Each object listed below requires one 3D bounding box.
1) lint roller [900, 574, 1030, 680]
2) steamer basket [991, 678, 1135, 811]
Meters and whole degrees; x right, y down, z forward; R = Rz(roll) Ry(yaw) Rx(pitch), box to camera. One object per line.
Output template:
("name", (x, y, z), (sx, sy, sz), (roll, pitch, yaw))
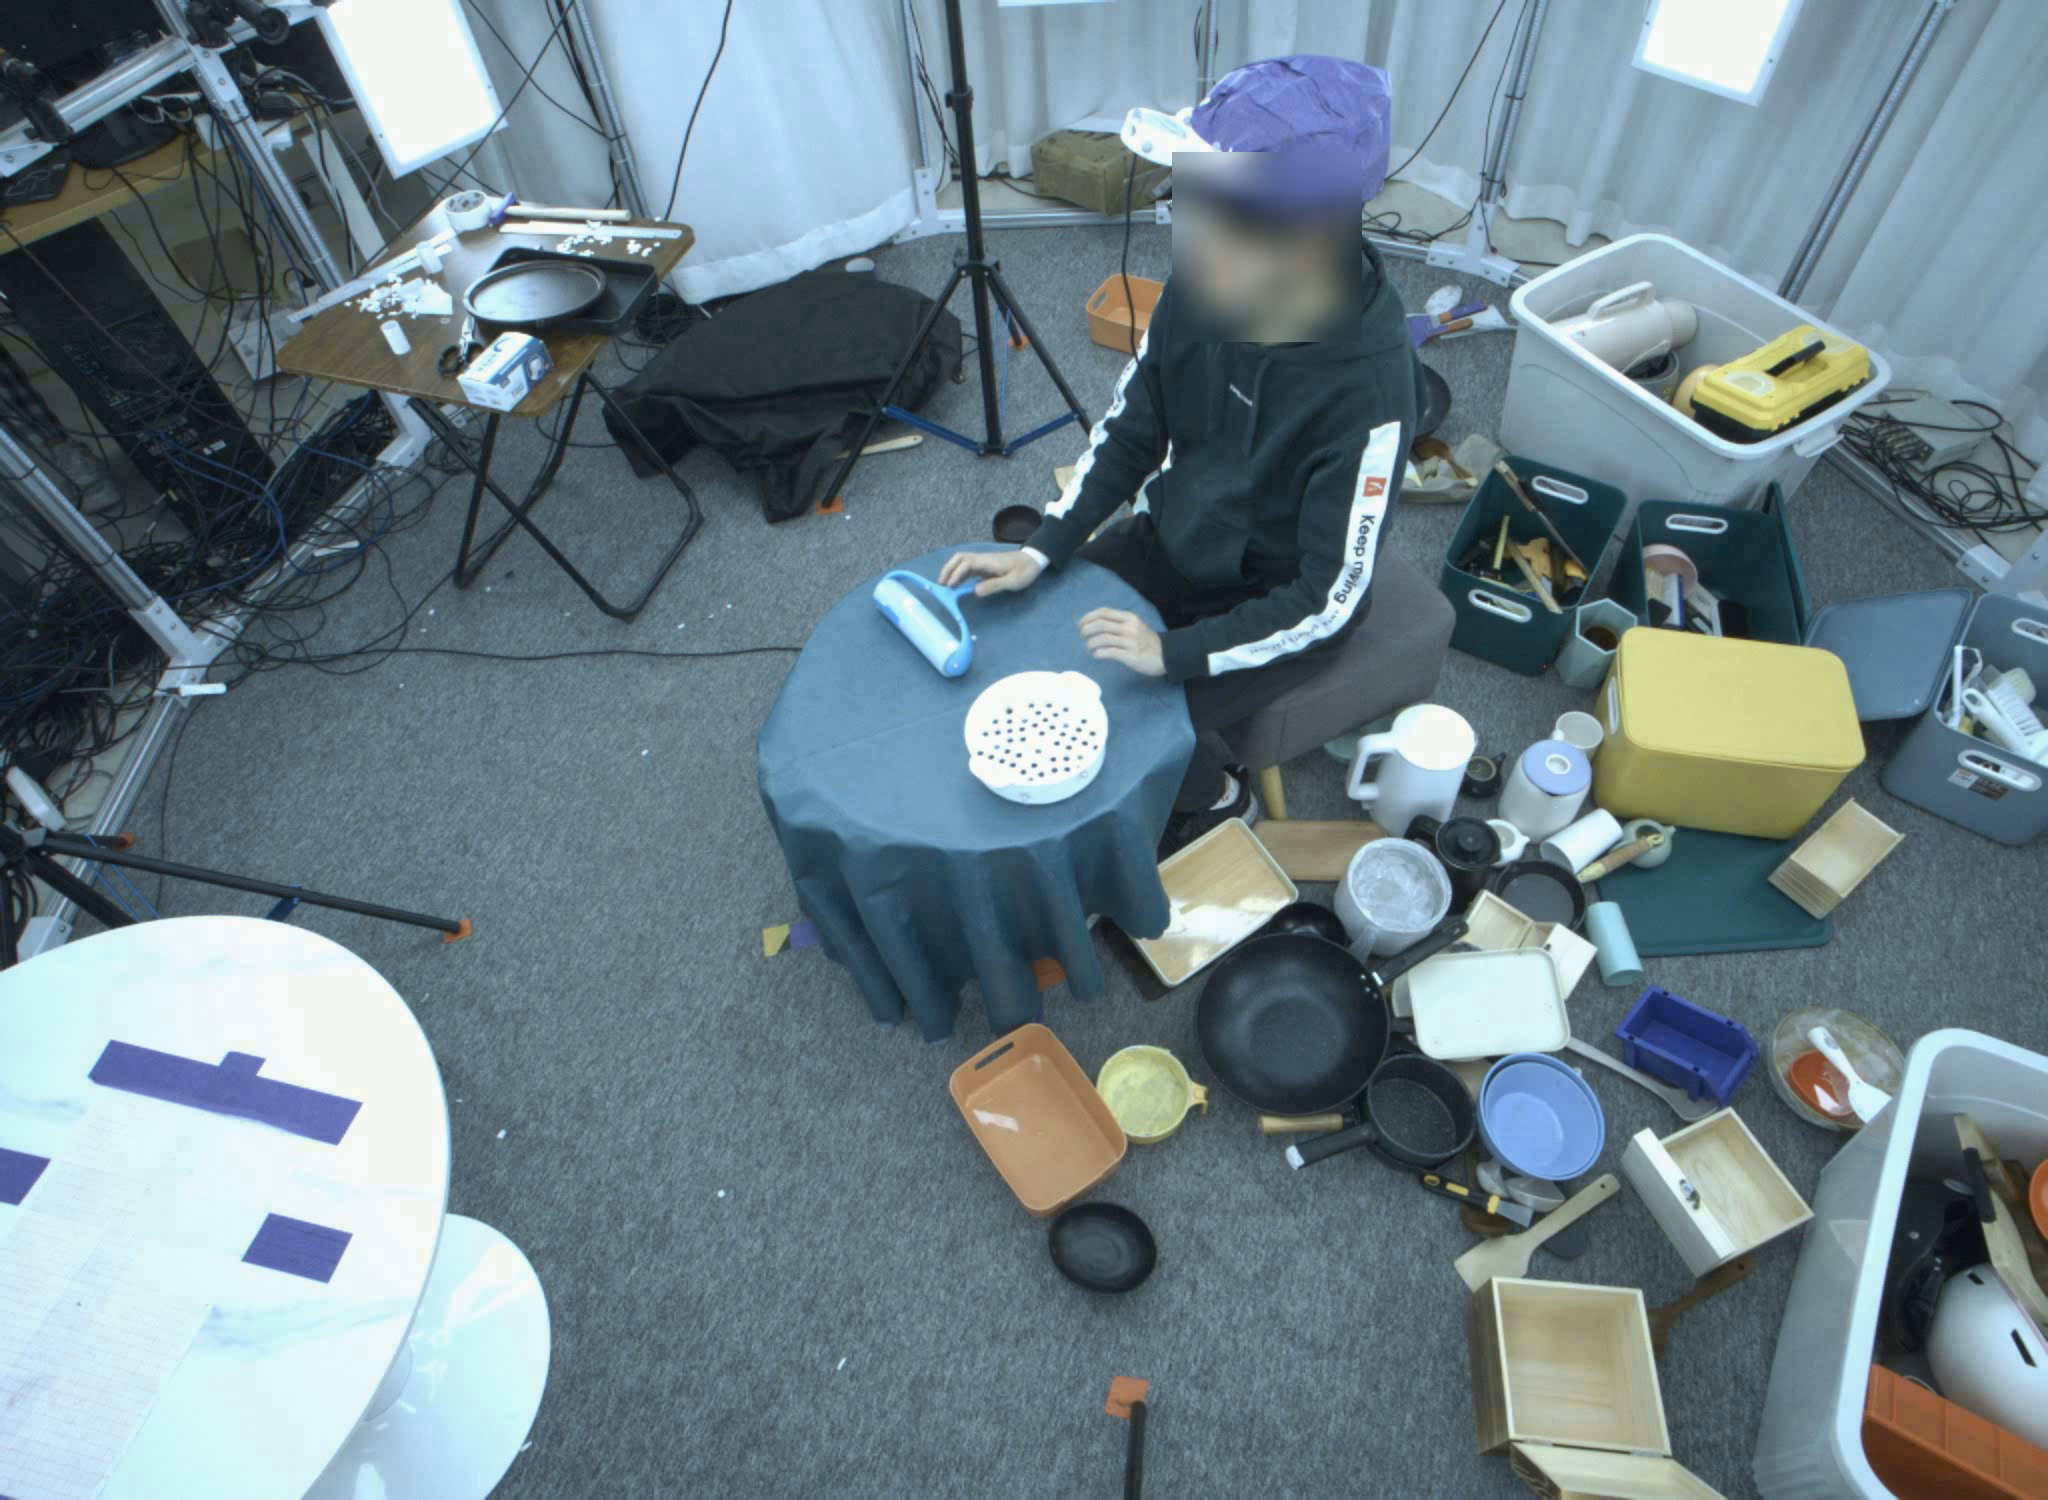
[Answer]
("lint roller", (-0.070, -0.220, 1.905), (0.181, 0.069, 0.224), (-37, 59, -18))
("steamer basket", (0.056, -0.006, 1.743), (0.198, 0.070, 0.232), (37, 63, 24))
